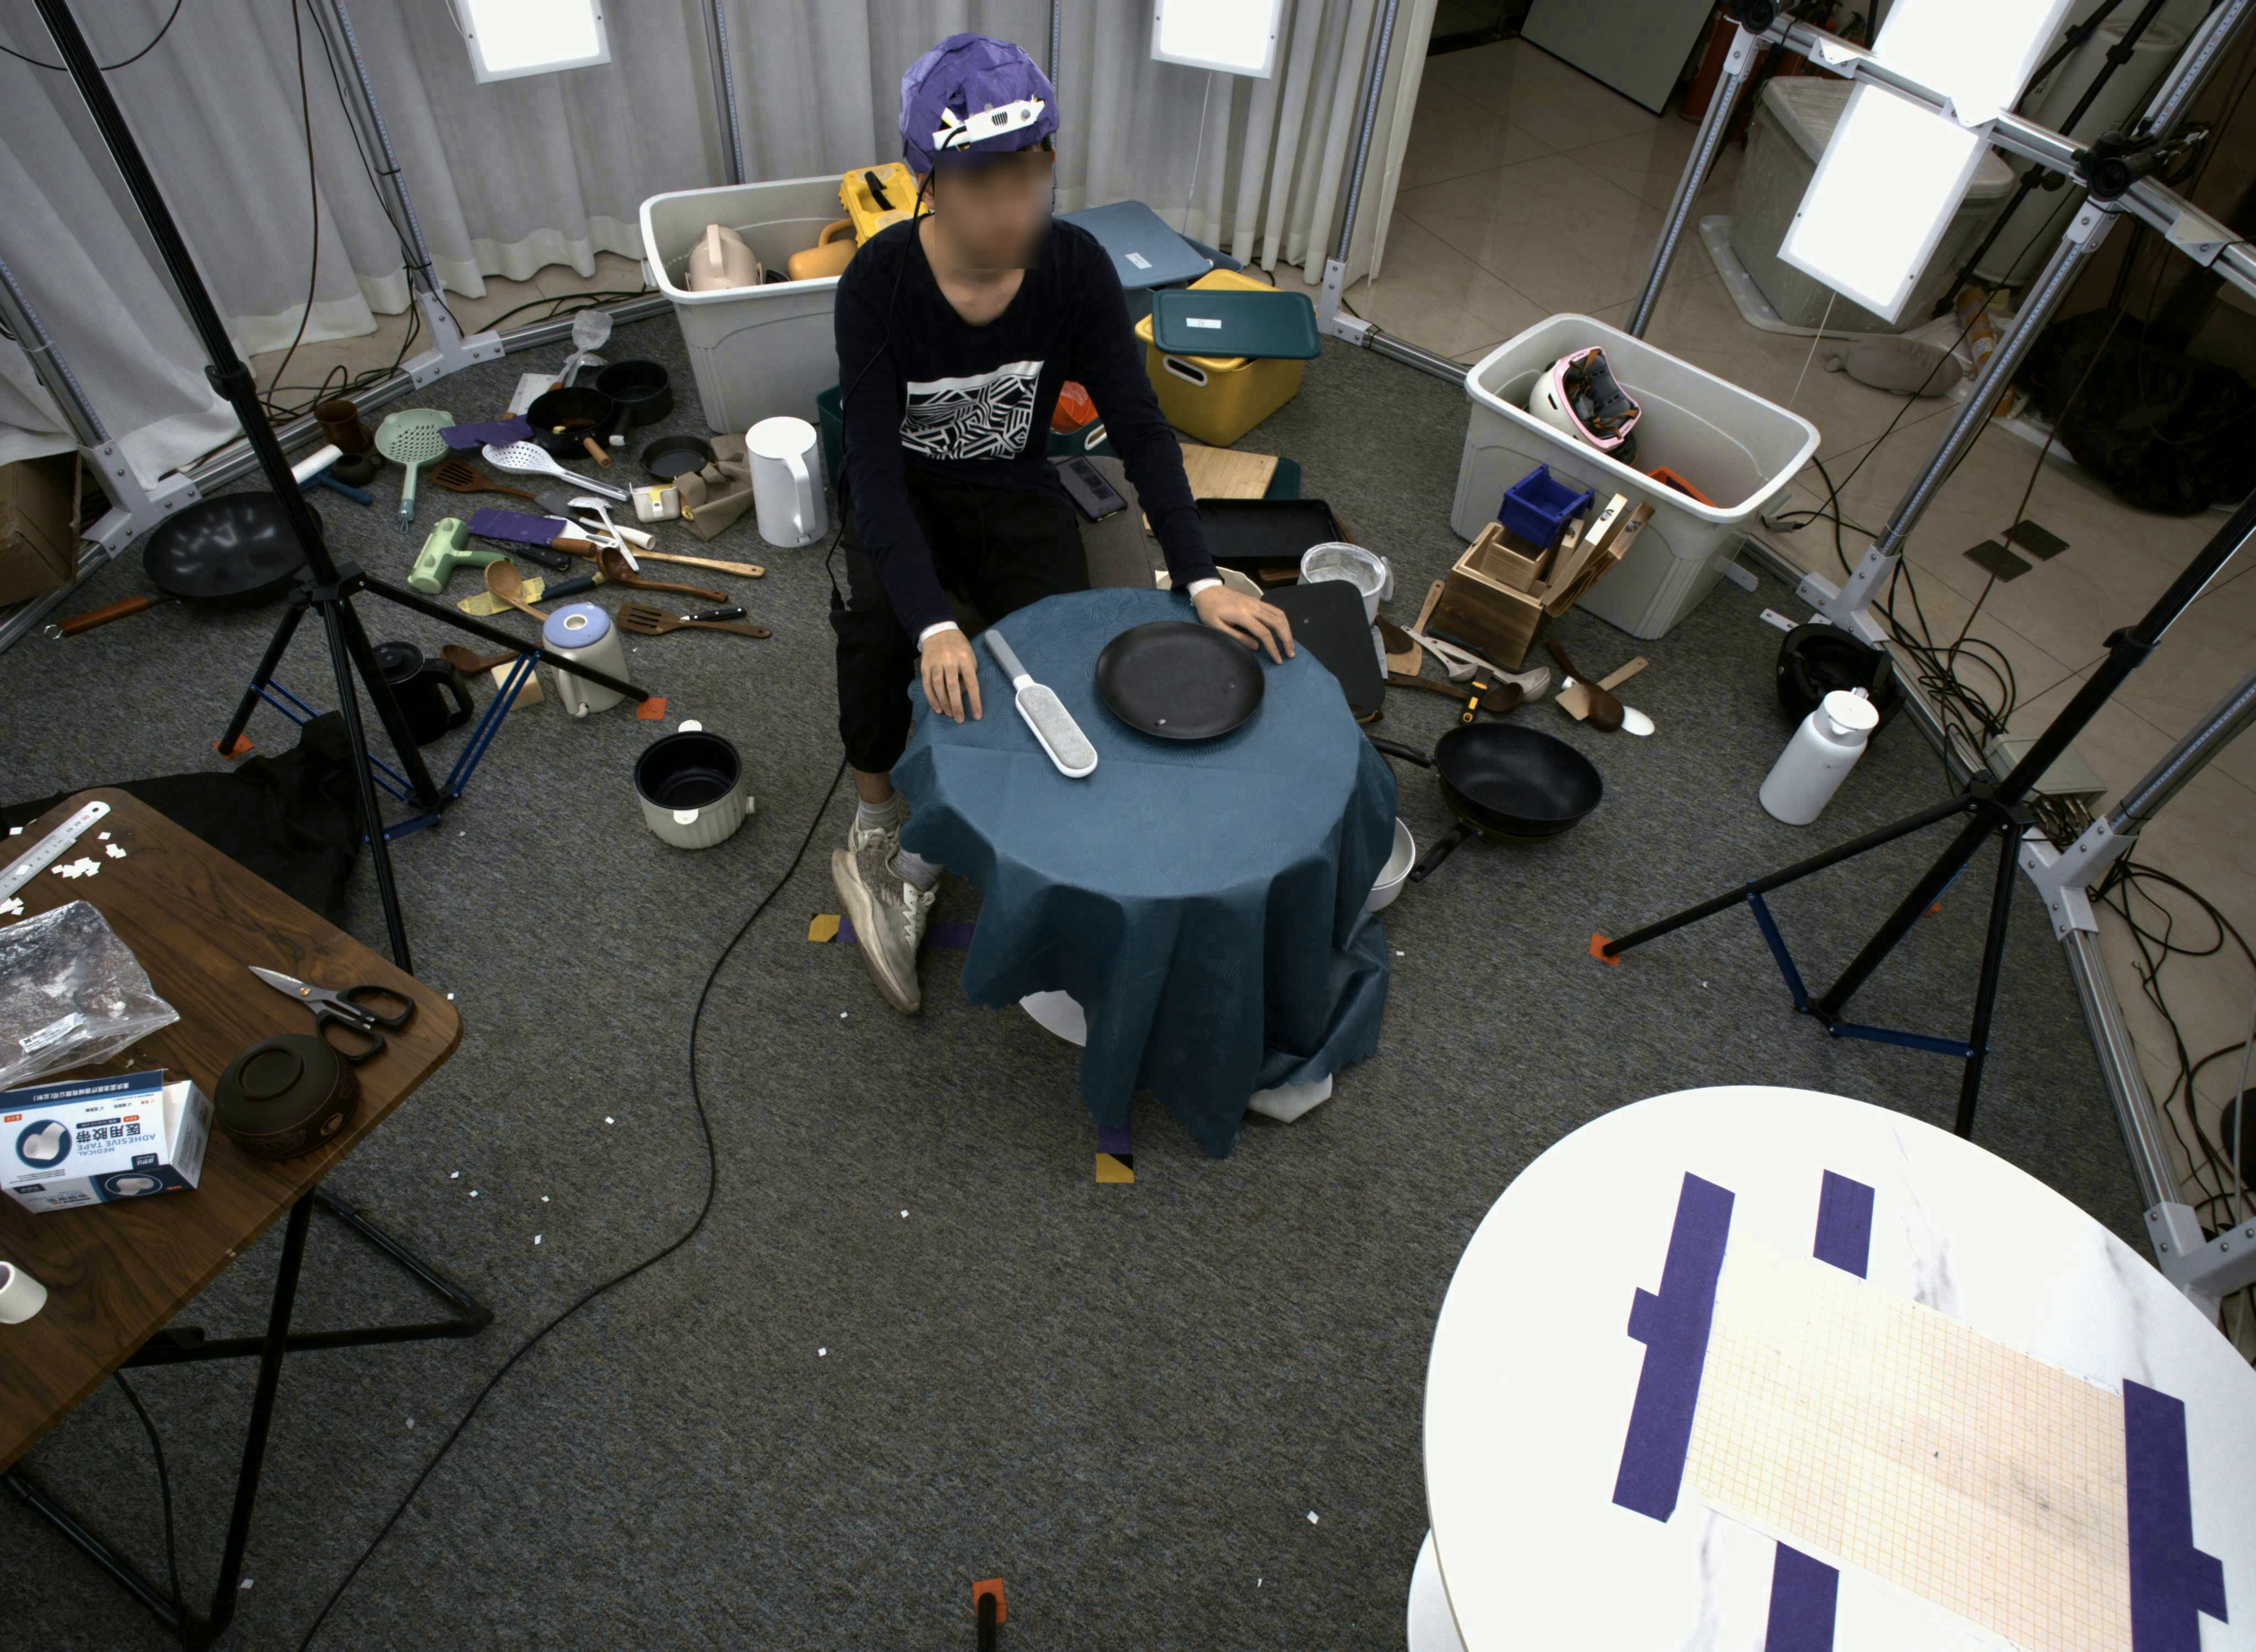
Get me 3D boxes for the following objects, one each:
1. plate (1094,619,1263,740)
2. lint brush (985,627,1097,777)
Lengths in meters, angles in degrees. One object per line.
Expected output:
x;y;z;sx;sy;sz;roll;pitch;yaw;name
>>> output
0.072;-0.207;1.837;0.244;0.023;0.250;2;49;-2;plate
-0.128;-0.179;1.797;0.060;0.020;0.315;-23;54;-16;lint brush
